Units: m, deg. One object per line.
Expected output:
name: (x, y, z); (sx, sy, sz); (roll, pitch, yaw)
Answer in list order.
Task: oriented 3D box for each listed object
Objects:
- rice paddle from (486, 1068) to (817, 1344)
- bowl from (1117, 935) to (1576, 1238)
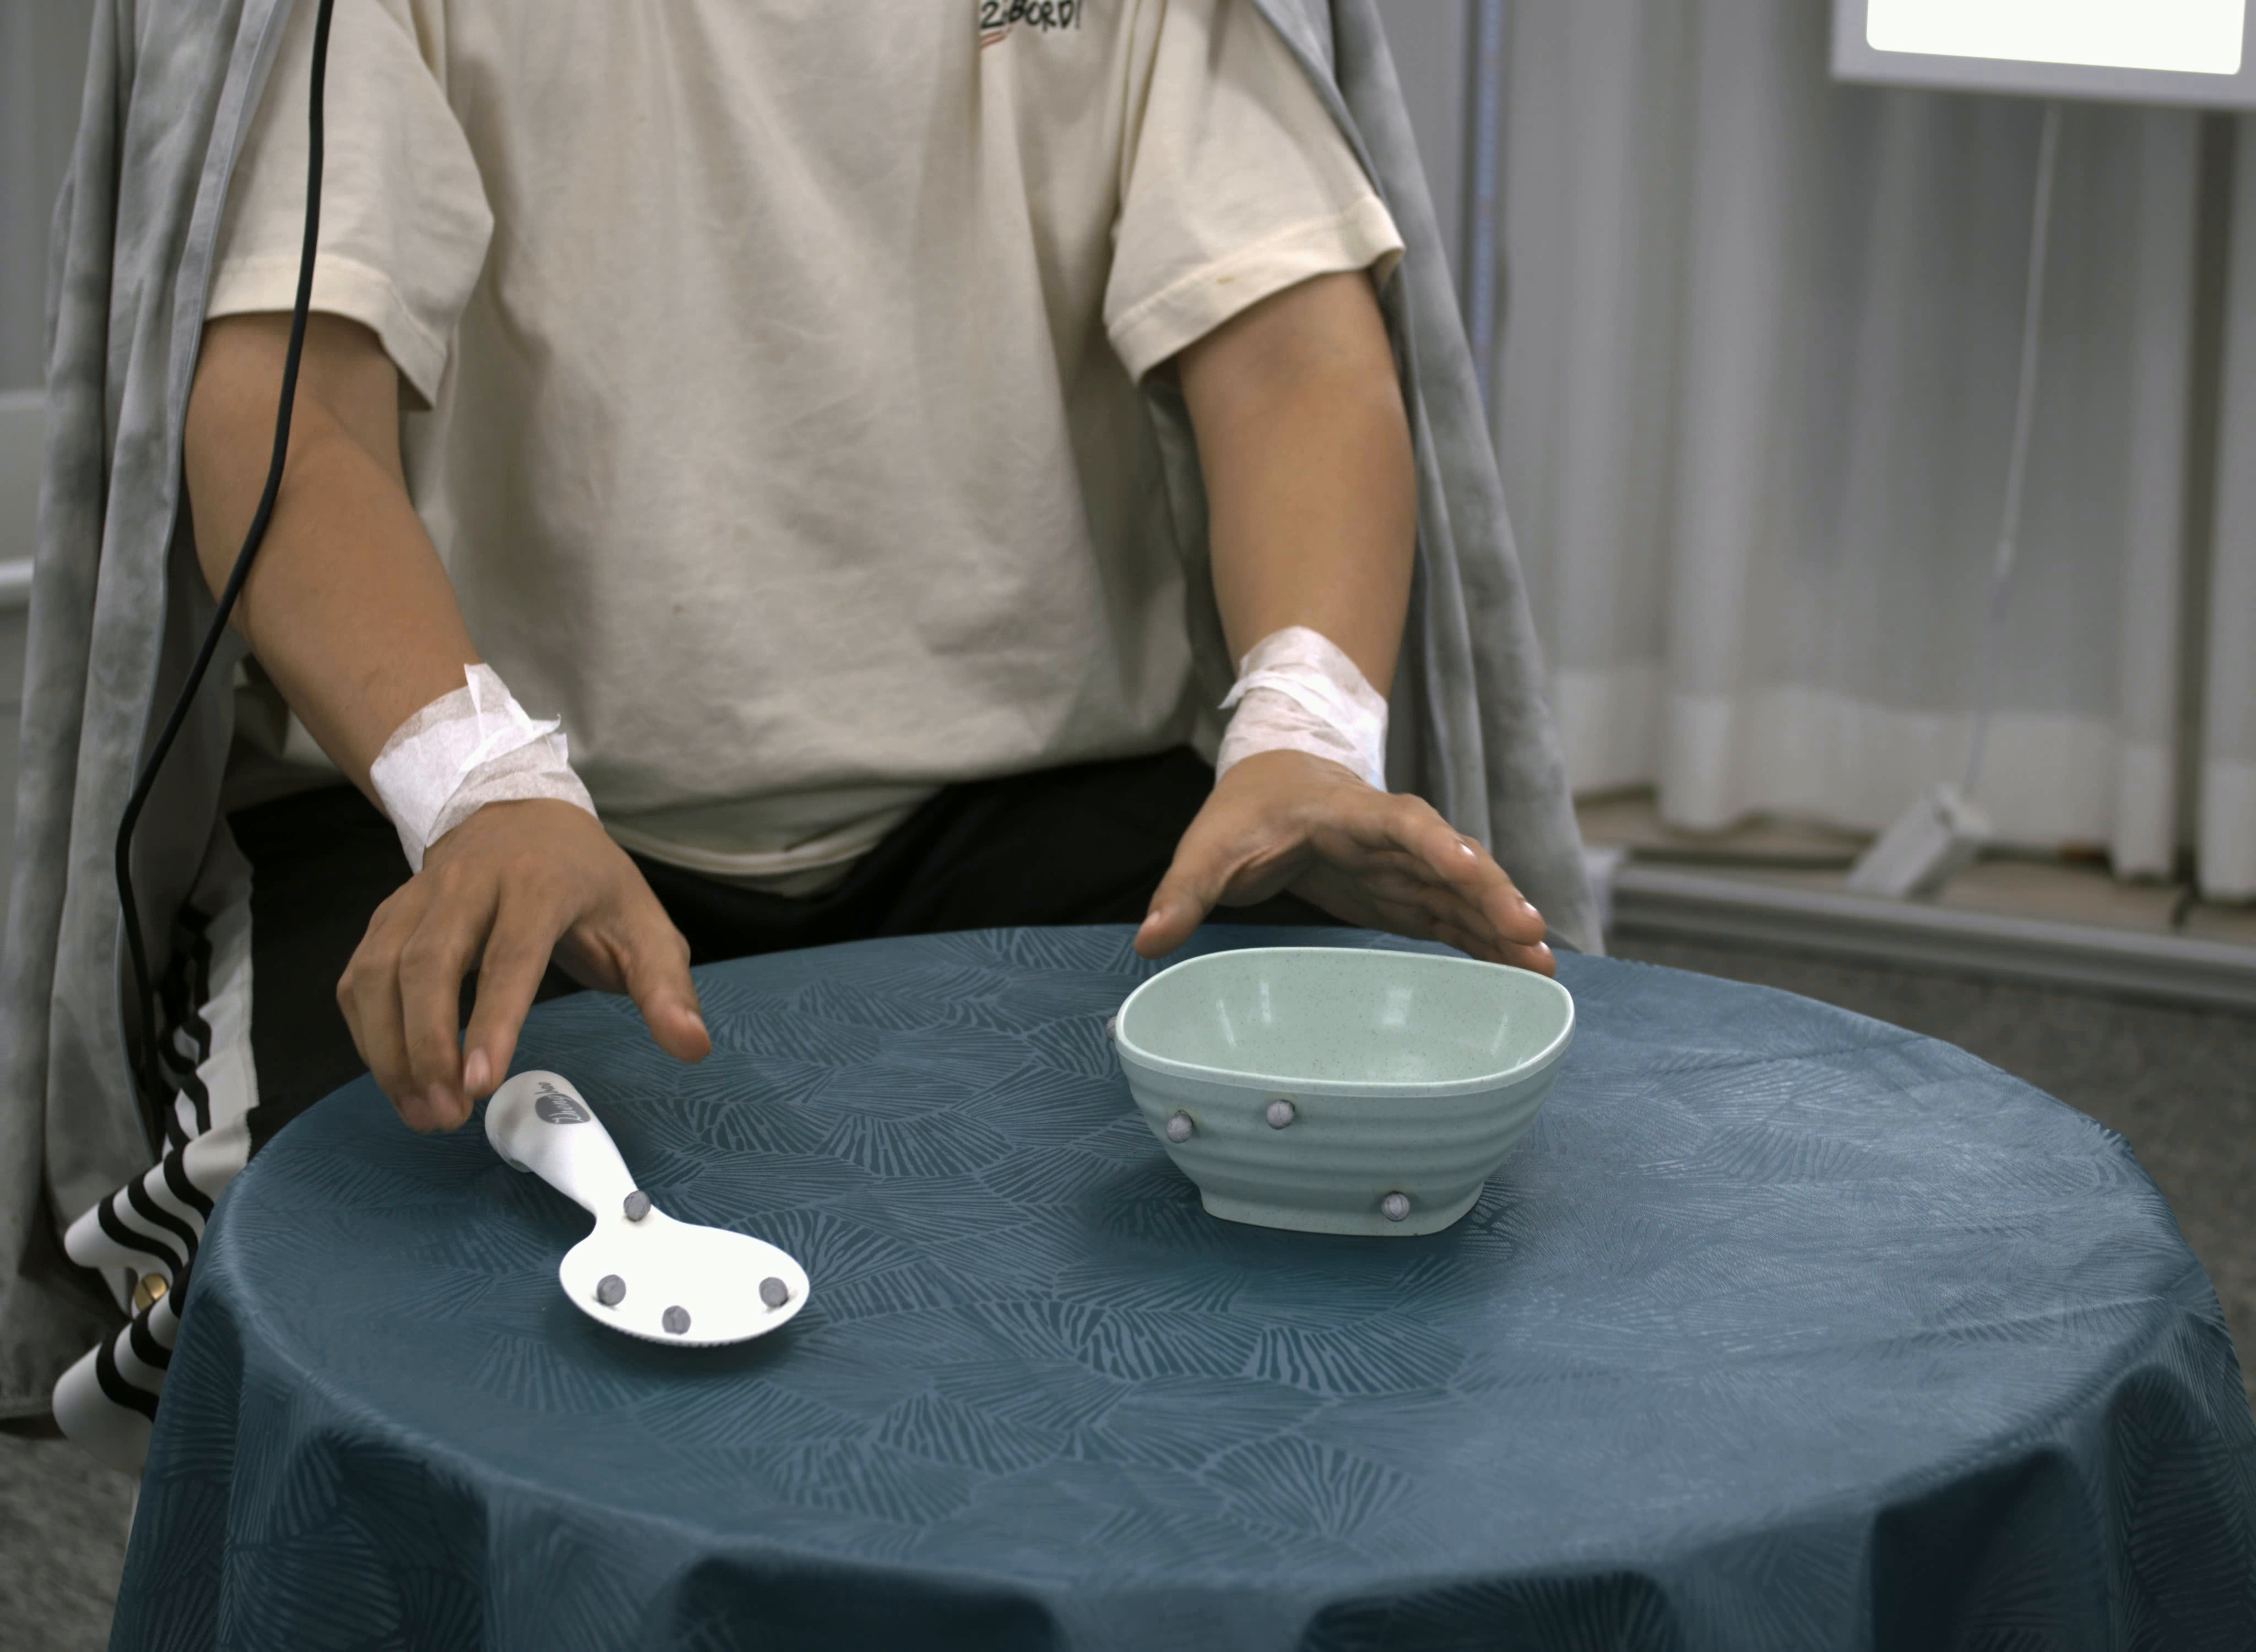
rice paddle: (-0.147, 0.114, 1.556); (0.069, 0.029, 0.203); (-7, 17, -21)
bowl: (0.068, 0.084, 1.622); (0.151, 0.059, 0.150); (0, 18, 1)
